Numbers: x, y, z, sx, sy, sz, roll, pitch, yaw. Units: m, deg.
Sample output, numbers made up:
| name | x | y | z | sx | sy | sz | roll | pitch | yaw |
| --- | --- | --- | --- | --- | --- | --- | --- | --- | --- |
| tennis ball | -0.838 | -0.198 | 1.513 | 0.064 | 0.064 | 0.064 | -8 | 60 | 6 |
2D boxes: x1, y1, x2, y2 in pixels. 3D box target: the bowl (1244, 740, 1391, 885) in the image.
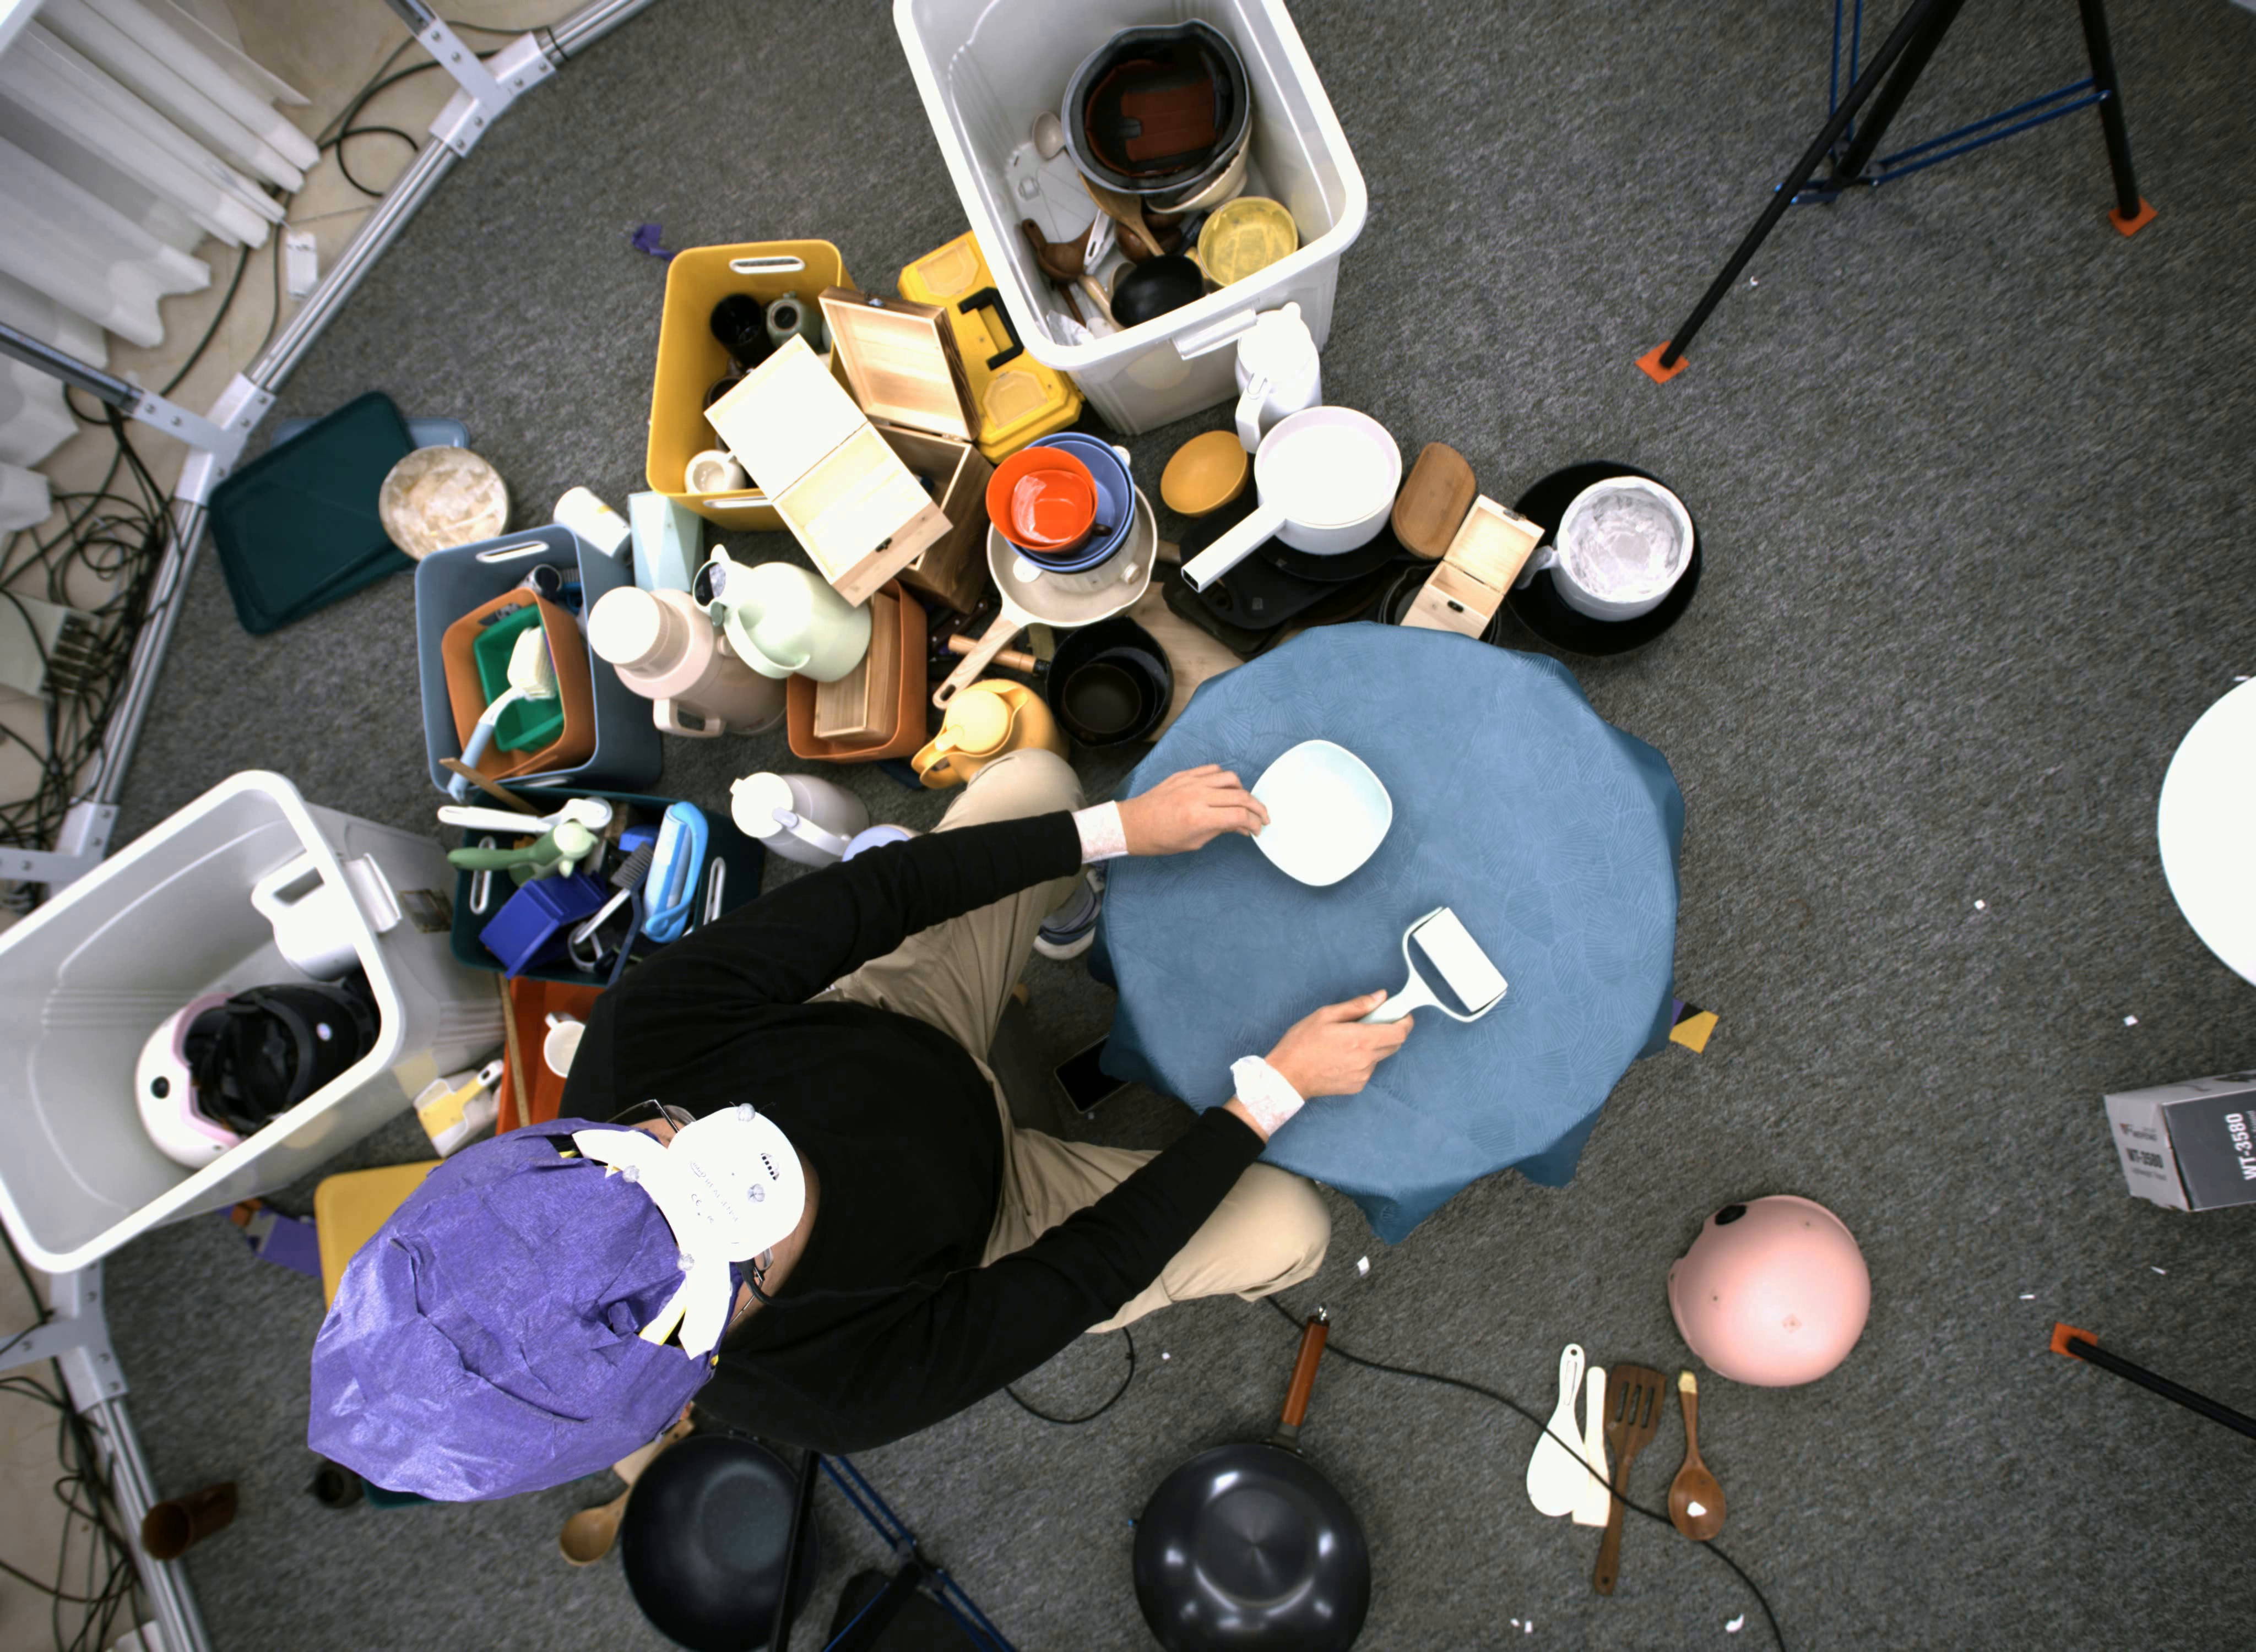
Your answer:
| name | x | y | z | sx | sy | sz | roll | pitch | yaw |
| --- | --- | --- | --- | --- | --- | --- | --- | --- | --- |
| bowl | 0.199 | -0.012 | 1.449 | 0.152 | 0.059 | 0.151 | -1 | 86 | 9 |

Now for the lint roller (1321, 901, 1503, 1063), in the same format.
| name | x | y | z | sx | sy | sz | roll | pitch | yaw |
| --- | --- | --- | --- | --- | --- | --- | --- | --- | --- |
| lint roller | 0.276 | 0.174 | 1.416 | 0.197 | 0.048 | 0.116 | -37 | 85 | 0 |
